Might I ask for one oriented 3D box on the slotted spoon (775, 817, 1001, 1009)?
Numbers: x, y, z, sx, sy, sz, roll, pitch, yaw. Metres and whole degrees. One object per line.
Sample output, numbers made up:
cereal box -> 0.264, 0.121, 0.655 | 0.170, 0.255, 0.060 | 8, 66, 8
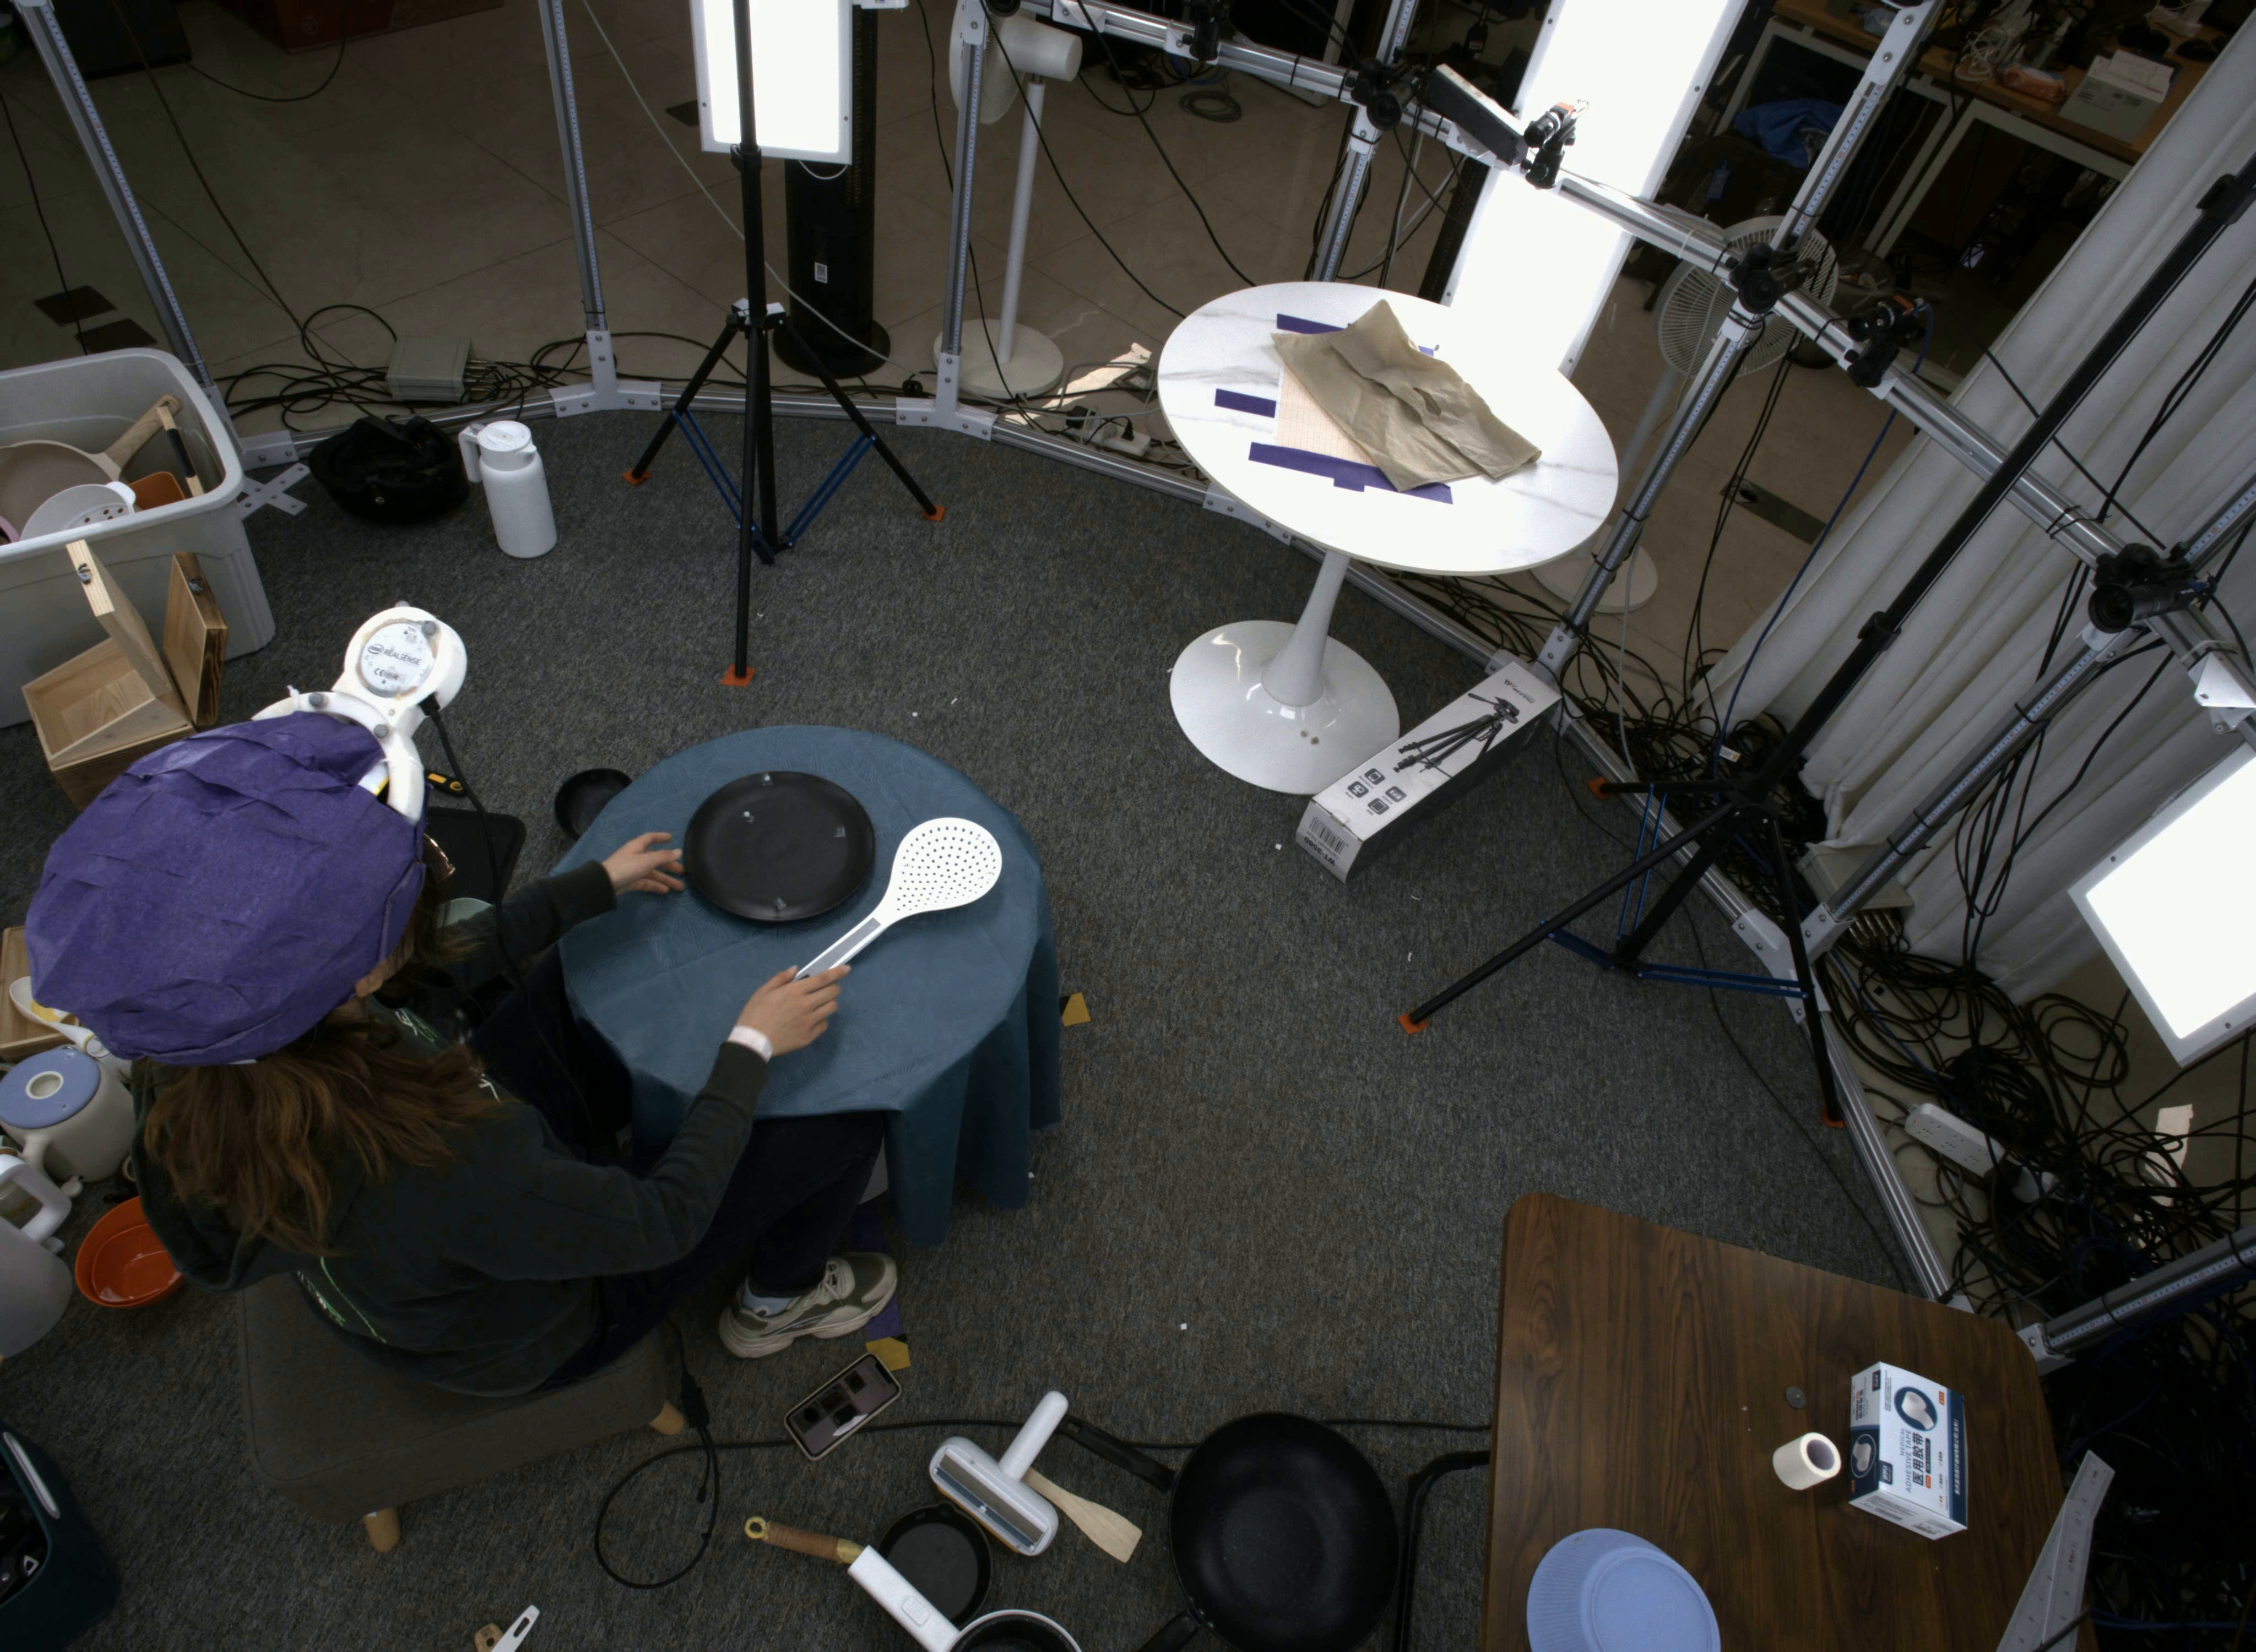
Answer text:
slotted spoon -> -0.305, 0.110, 1.648 | 0.133, 0.047, 0.350 | 38, 55, 18

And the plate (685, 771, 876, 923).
plate -> -0.451, 0.027, 1.687 | 0.244, 0.024, 0.240 | 8, 53, -9
